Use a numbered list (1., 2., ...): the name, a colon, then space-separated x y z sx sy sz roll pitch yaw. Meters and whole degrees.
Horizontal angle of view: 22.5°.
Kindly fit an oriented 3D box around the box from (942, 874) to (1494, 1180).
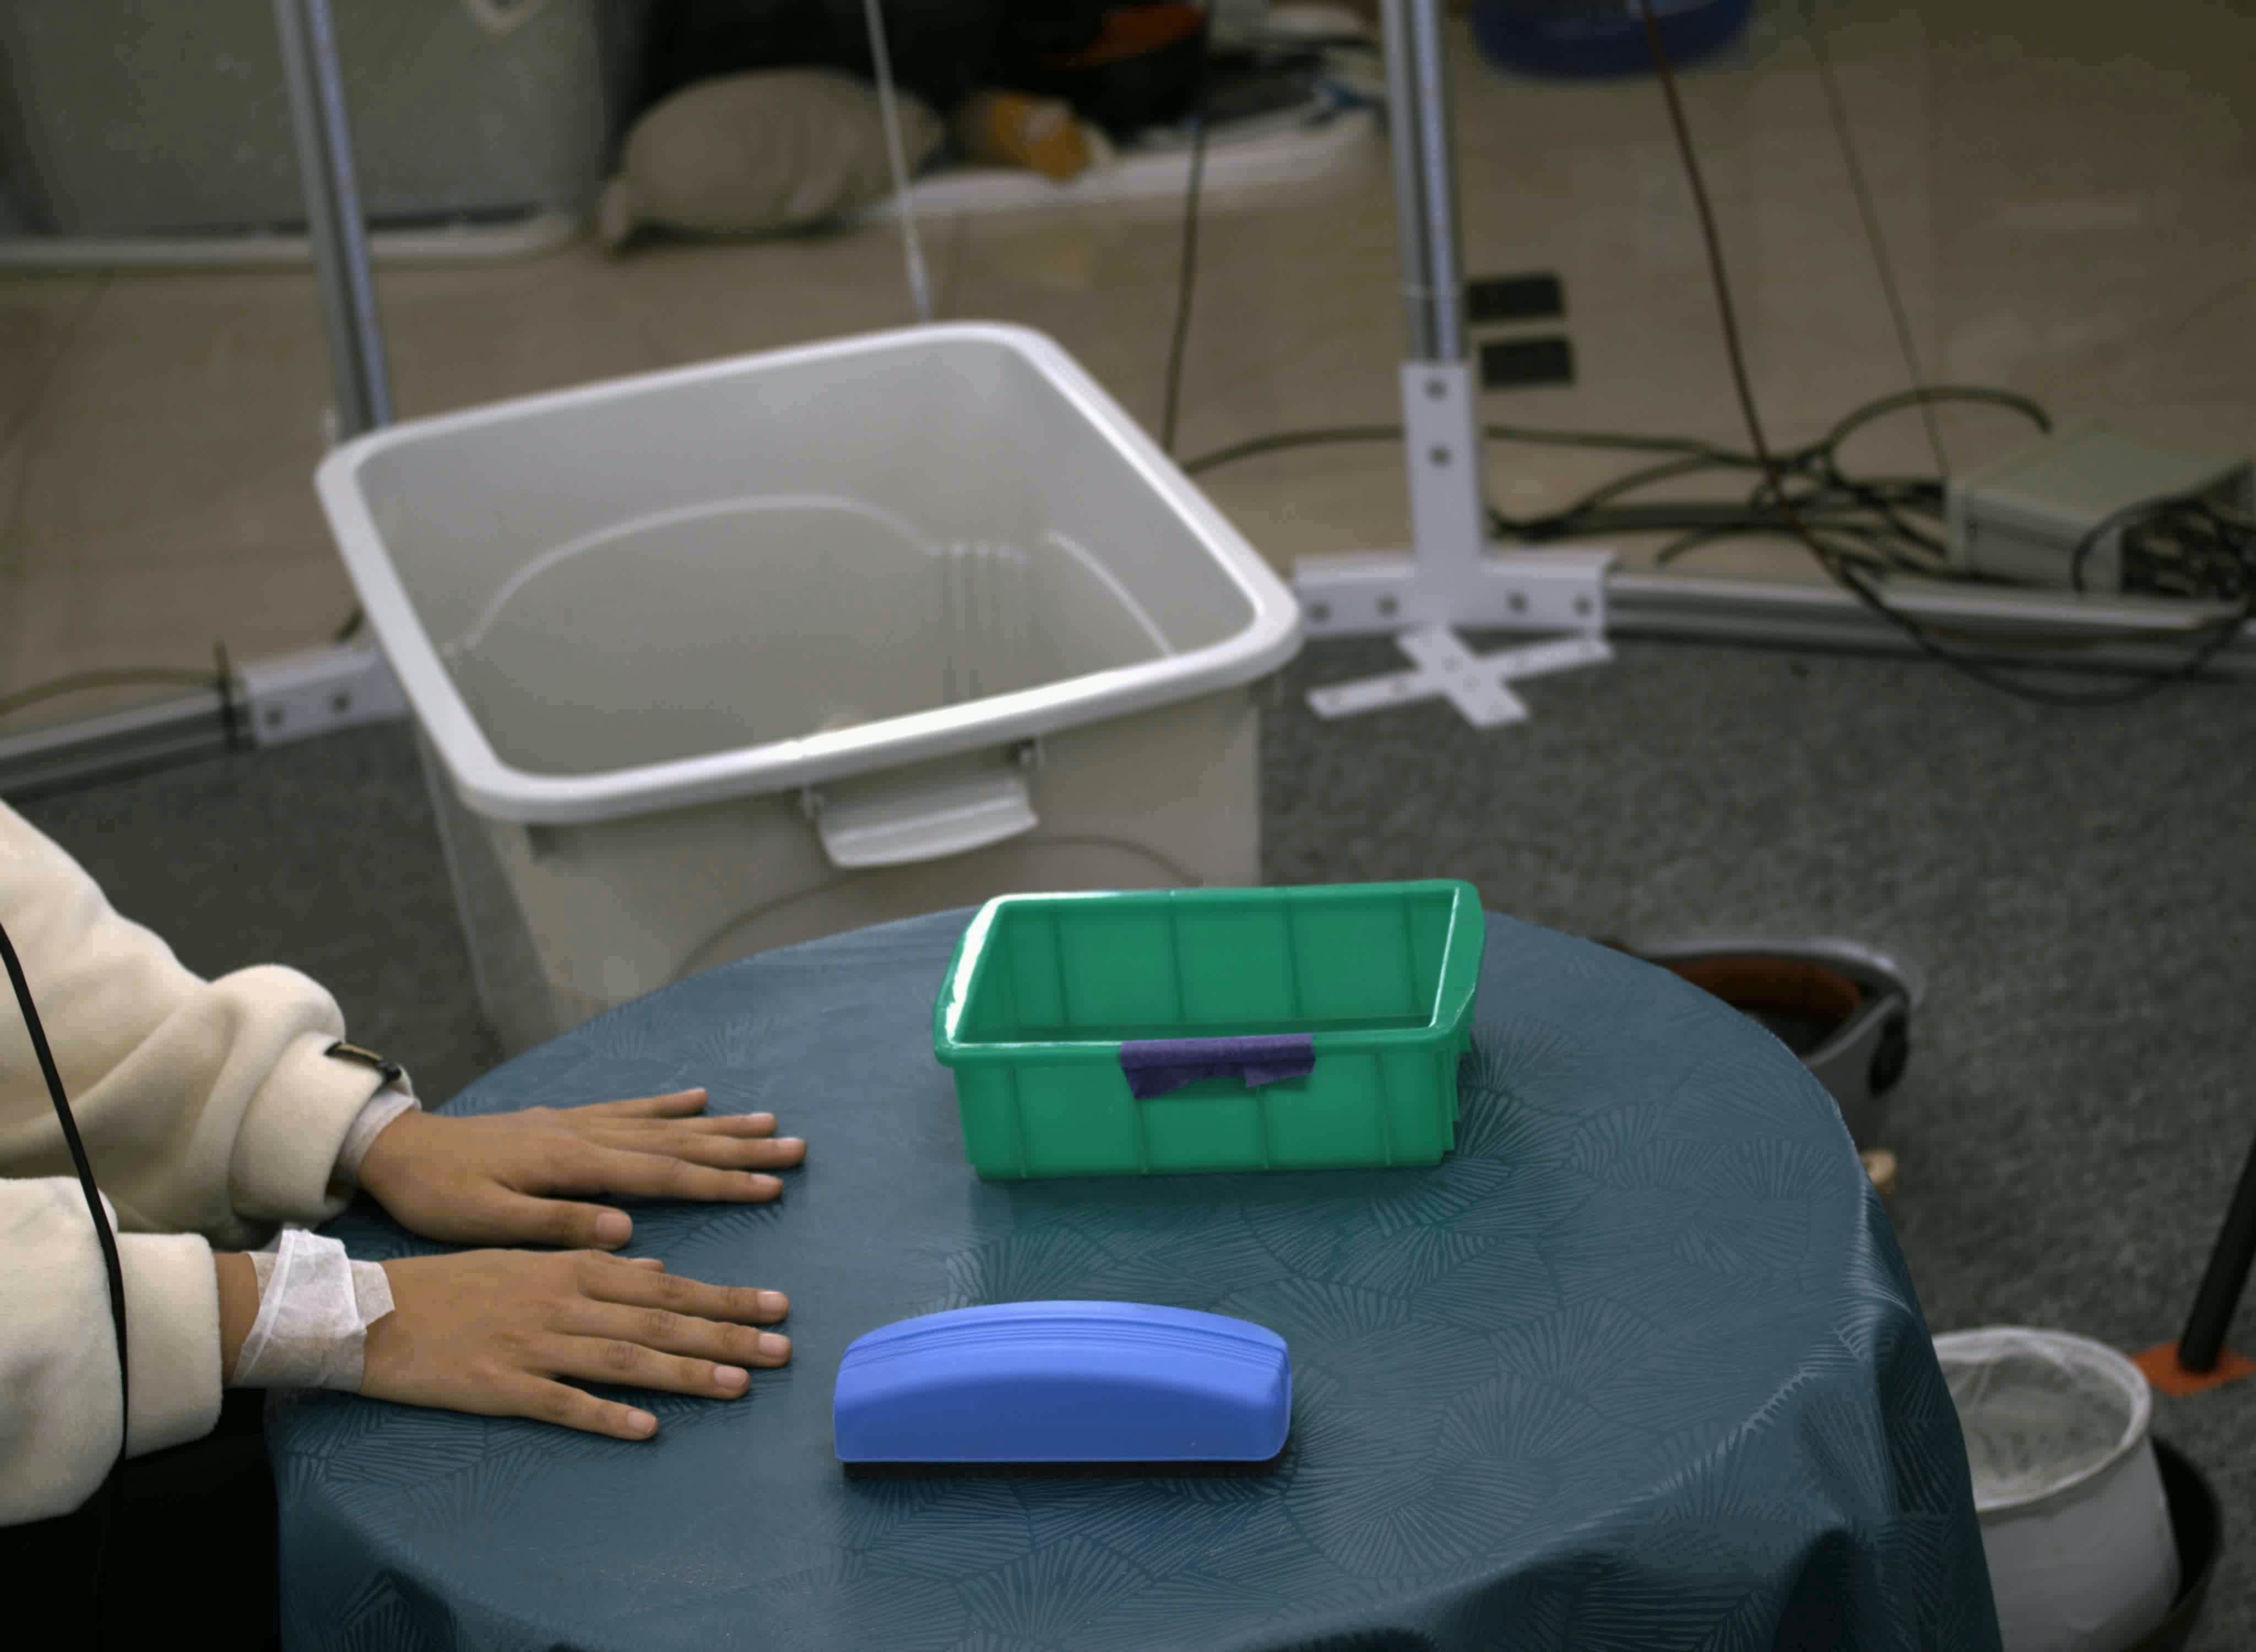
1. box: 0.038 0.079 2.193 0.210 0.066 0.136 -2 27 8

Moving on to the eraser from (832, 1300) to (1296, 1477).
1. eraser: -0.023 0.195 1.978 0.162 0.048 0.053 -1 26 11
